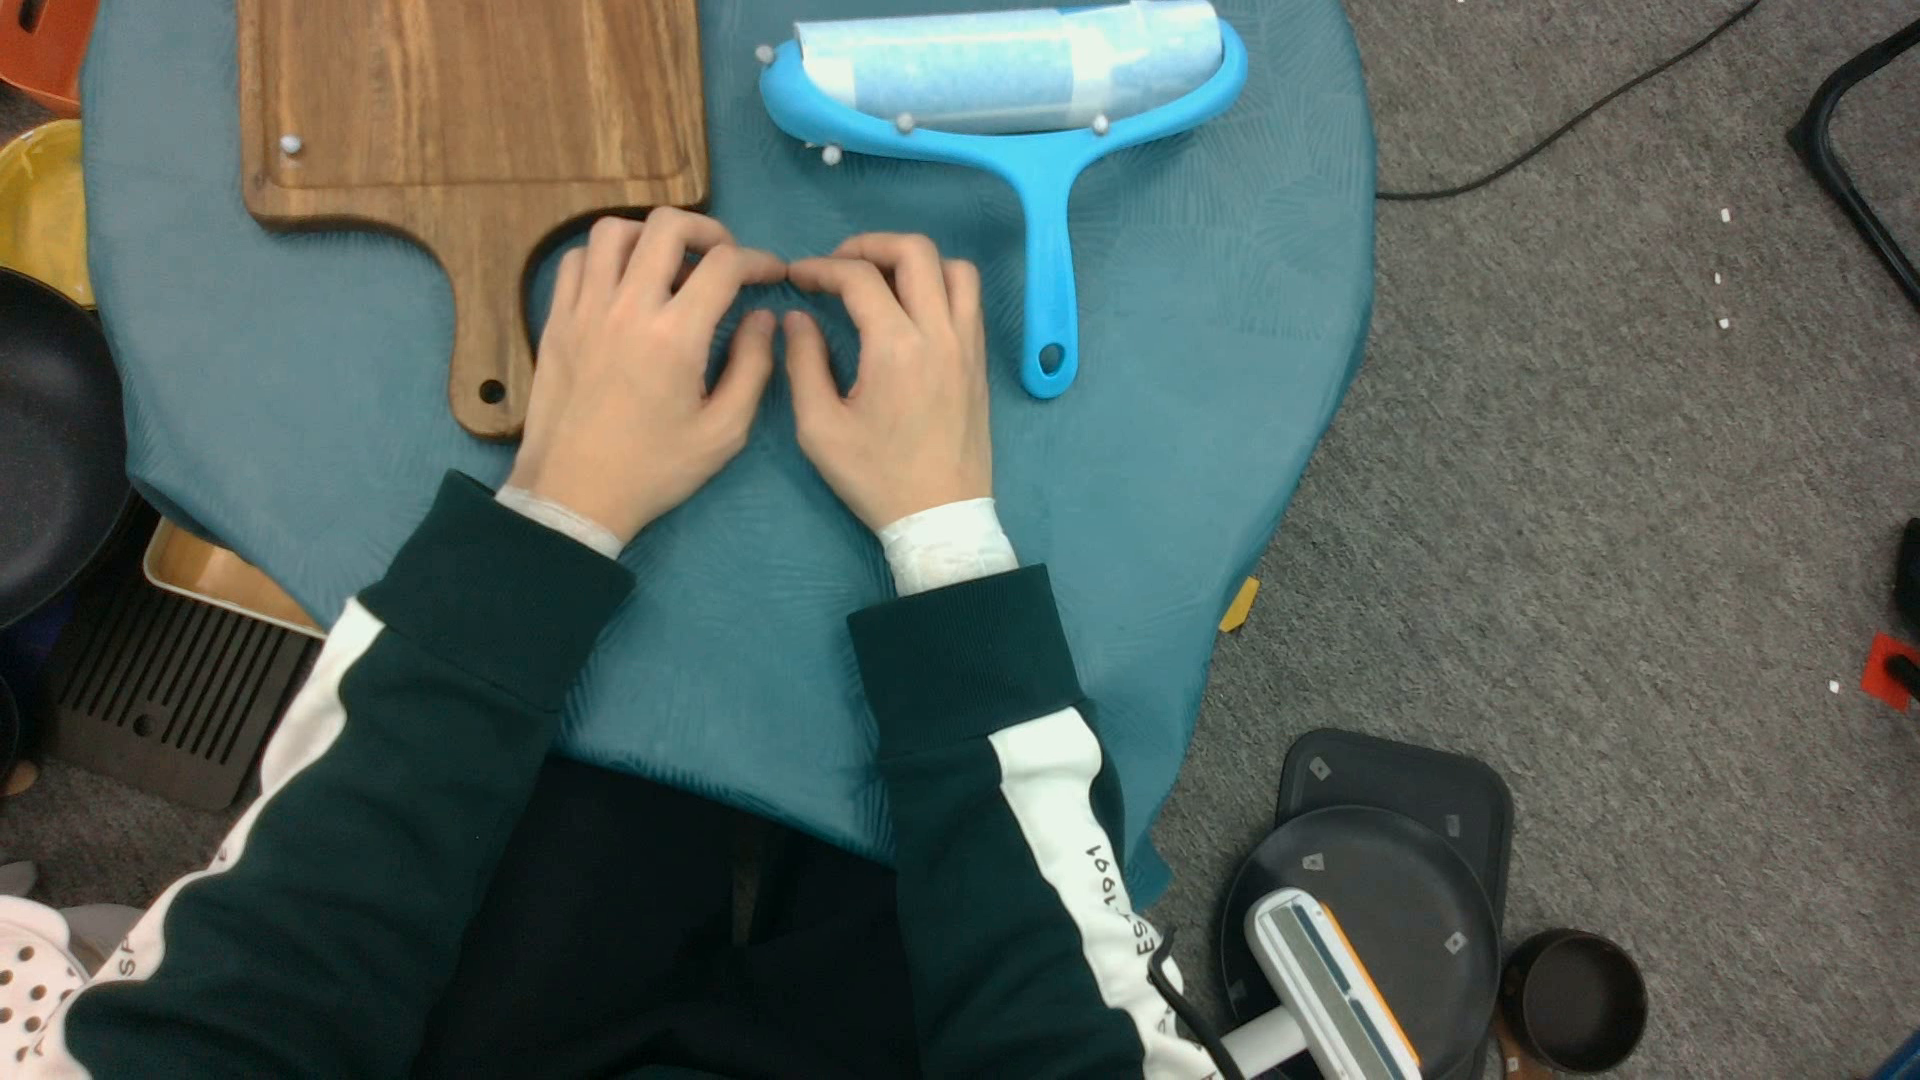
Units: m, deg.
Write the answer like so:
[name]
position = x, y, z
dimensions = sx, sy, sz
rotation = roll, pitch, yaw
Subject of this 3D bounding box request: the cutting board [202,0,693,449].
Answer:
[cutting board]
position = -0.229, -0.213, 0.617
dimensions = 0.201, 0.023, 0.352
rotation = -7, 82, -10

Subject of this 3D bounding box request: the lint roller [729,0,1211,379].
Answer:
[lint roller]
position = 0.021, -0.169, 0.636
dimensions = 0.229, 0.068, 0.180
rotation = -12, 82, -13
